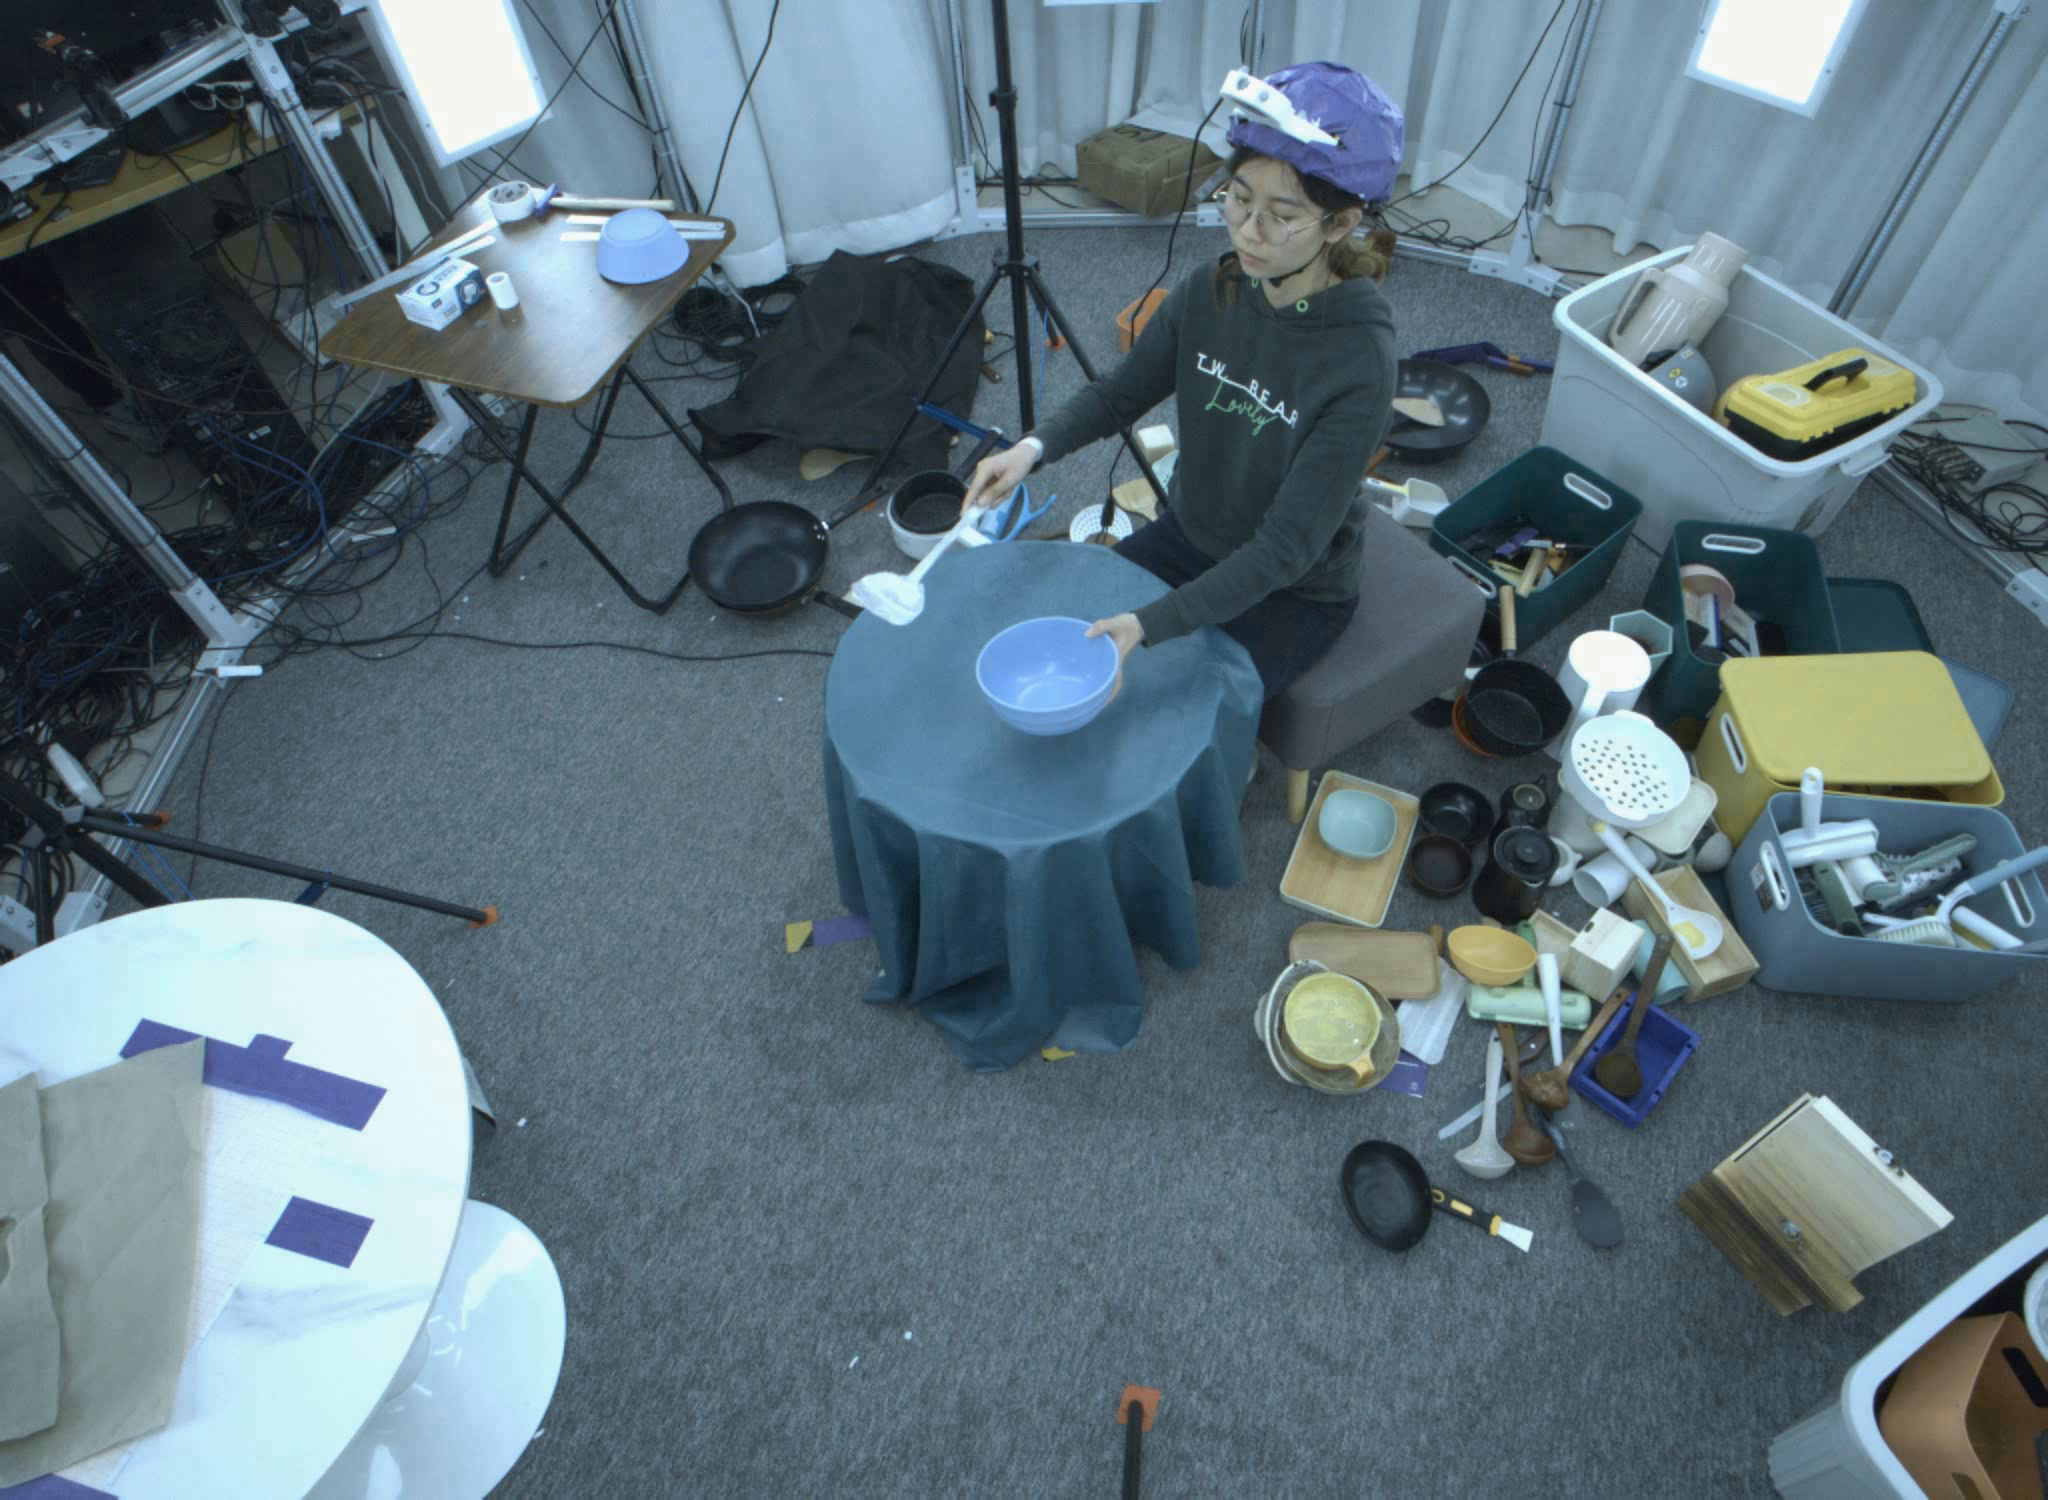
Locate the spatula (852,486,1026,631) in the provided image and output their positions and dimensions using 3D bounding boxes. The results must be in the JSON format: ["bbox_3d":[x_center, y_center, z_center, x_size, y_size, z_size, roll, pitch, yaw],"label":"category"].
[{"bbox_3d":[-0.110,-0.298,1.795,0.098,0.045,0.366,37,63,8],"label":"spatula"}]

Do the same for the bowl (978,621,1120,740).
[{"bbox_3d":[0.039,-0.082,1.716,0.196,0.097,0.194,-4,47,5],"label":"bowl"}]
